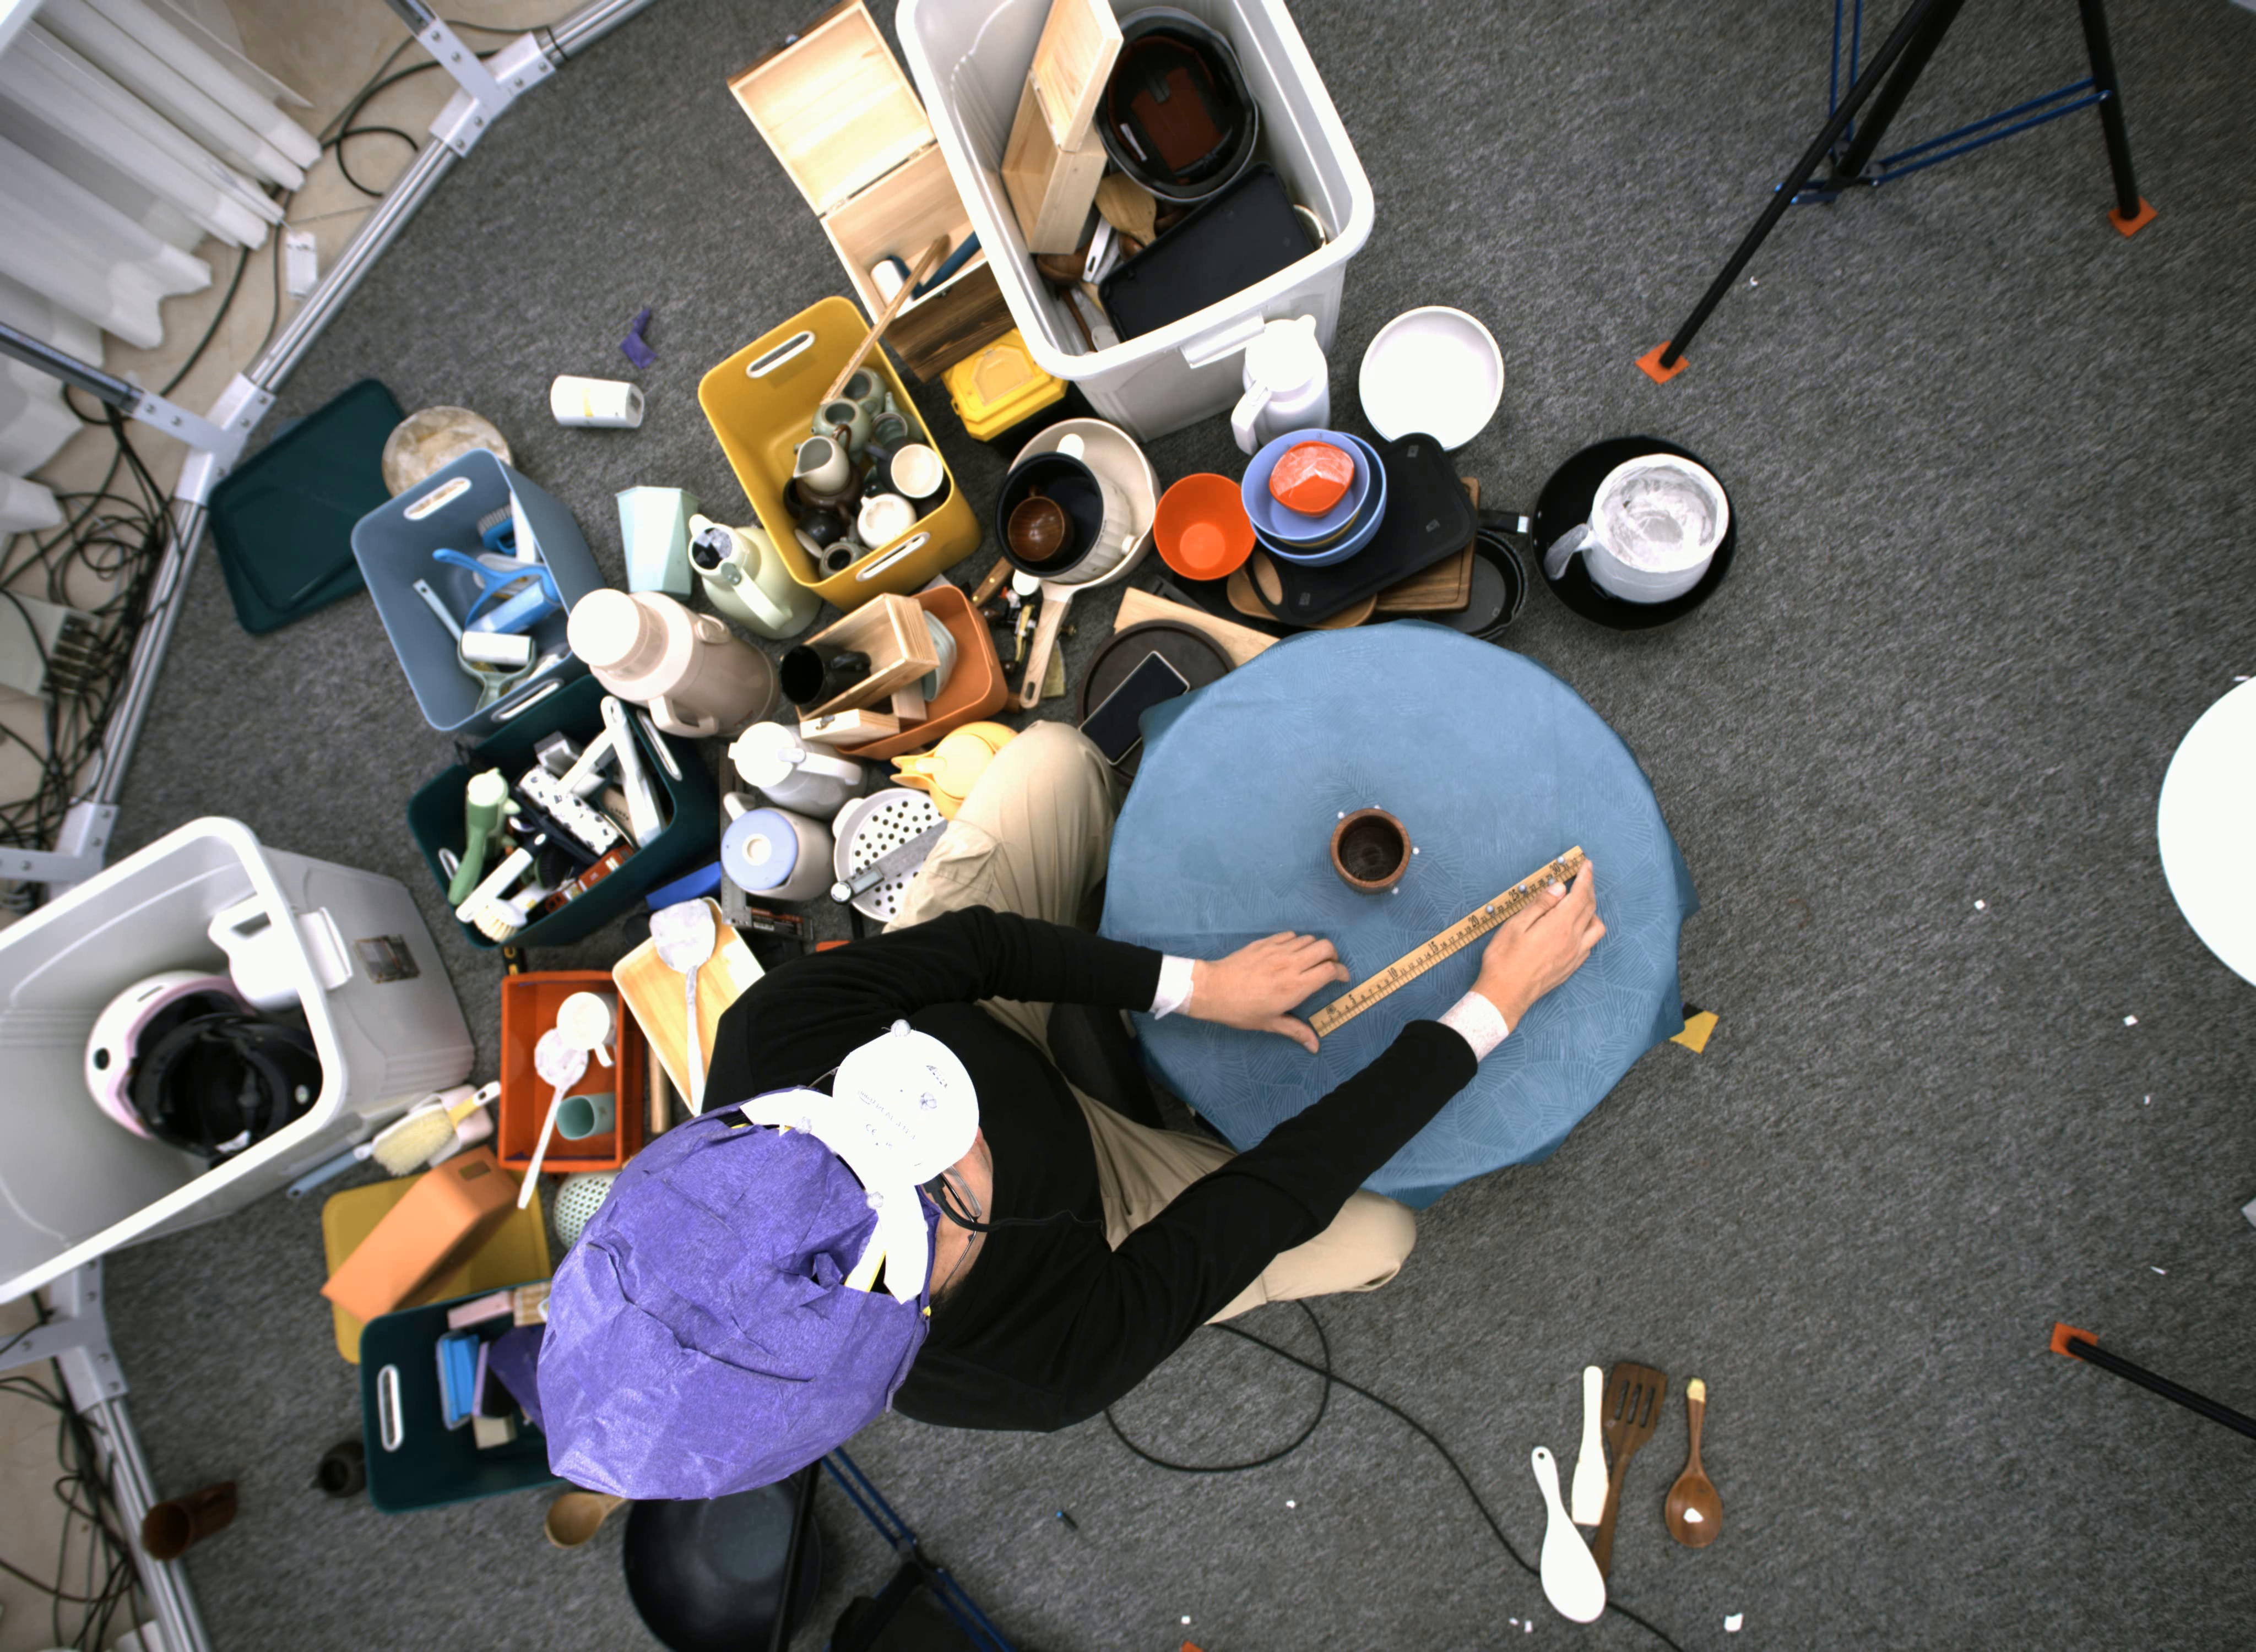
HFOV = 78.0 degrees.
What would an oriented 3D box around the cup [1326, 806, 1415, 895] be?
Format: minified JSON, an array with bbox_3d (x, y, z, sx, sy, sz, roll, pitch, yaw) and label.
[{"bbox_3d":[0.249,0.026,1.407,0.088,0.118,0.087,-1,84,11],"label":"cup"}]

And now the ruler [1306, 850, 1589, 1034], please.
[{"bbox_3d":[0.333,0.120,1.441,0.334,0.022,0.027,-32,74,7],"label":"ruler"}]
